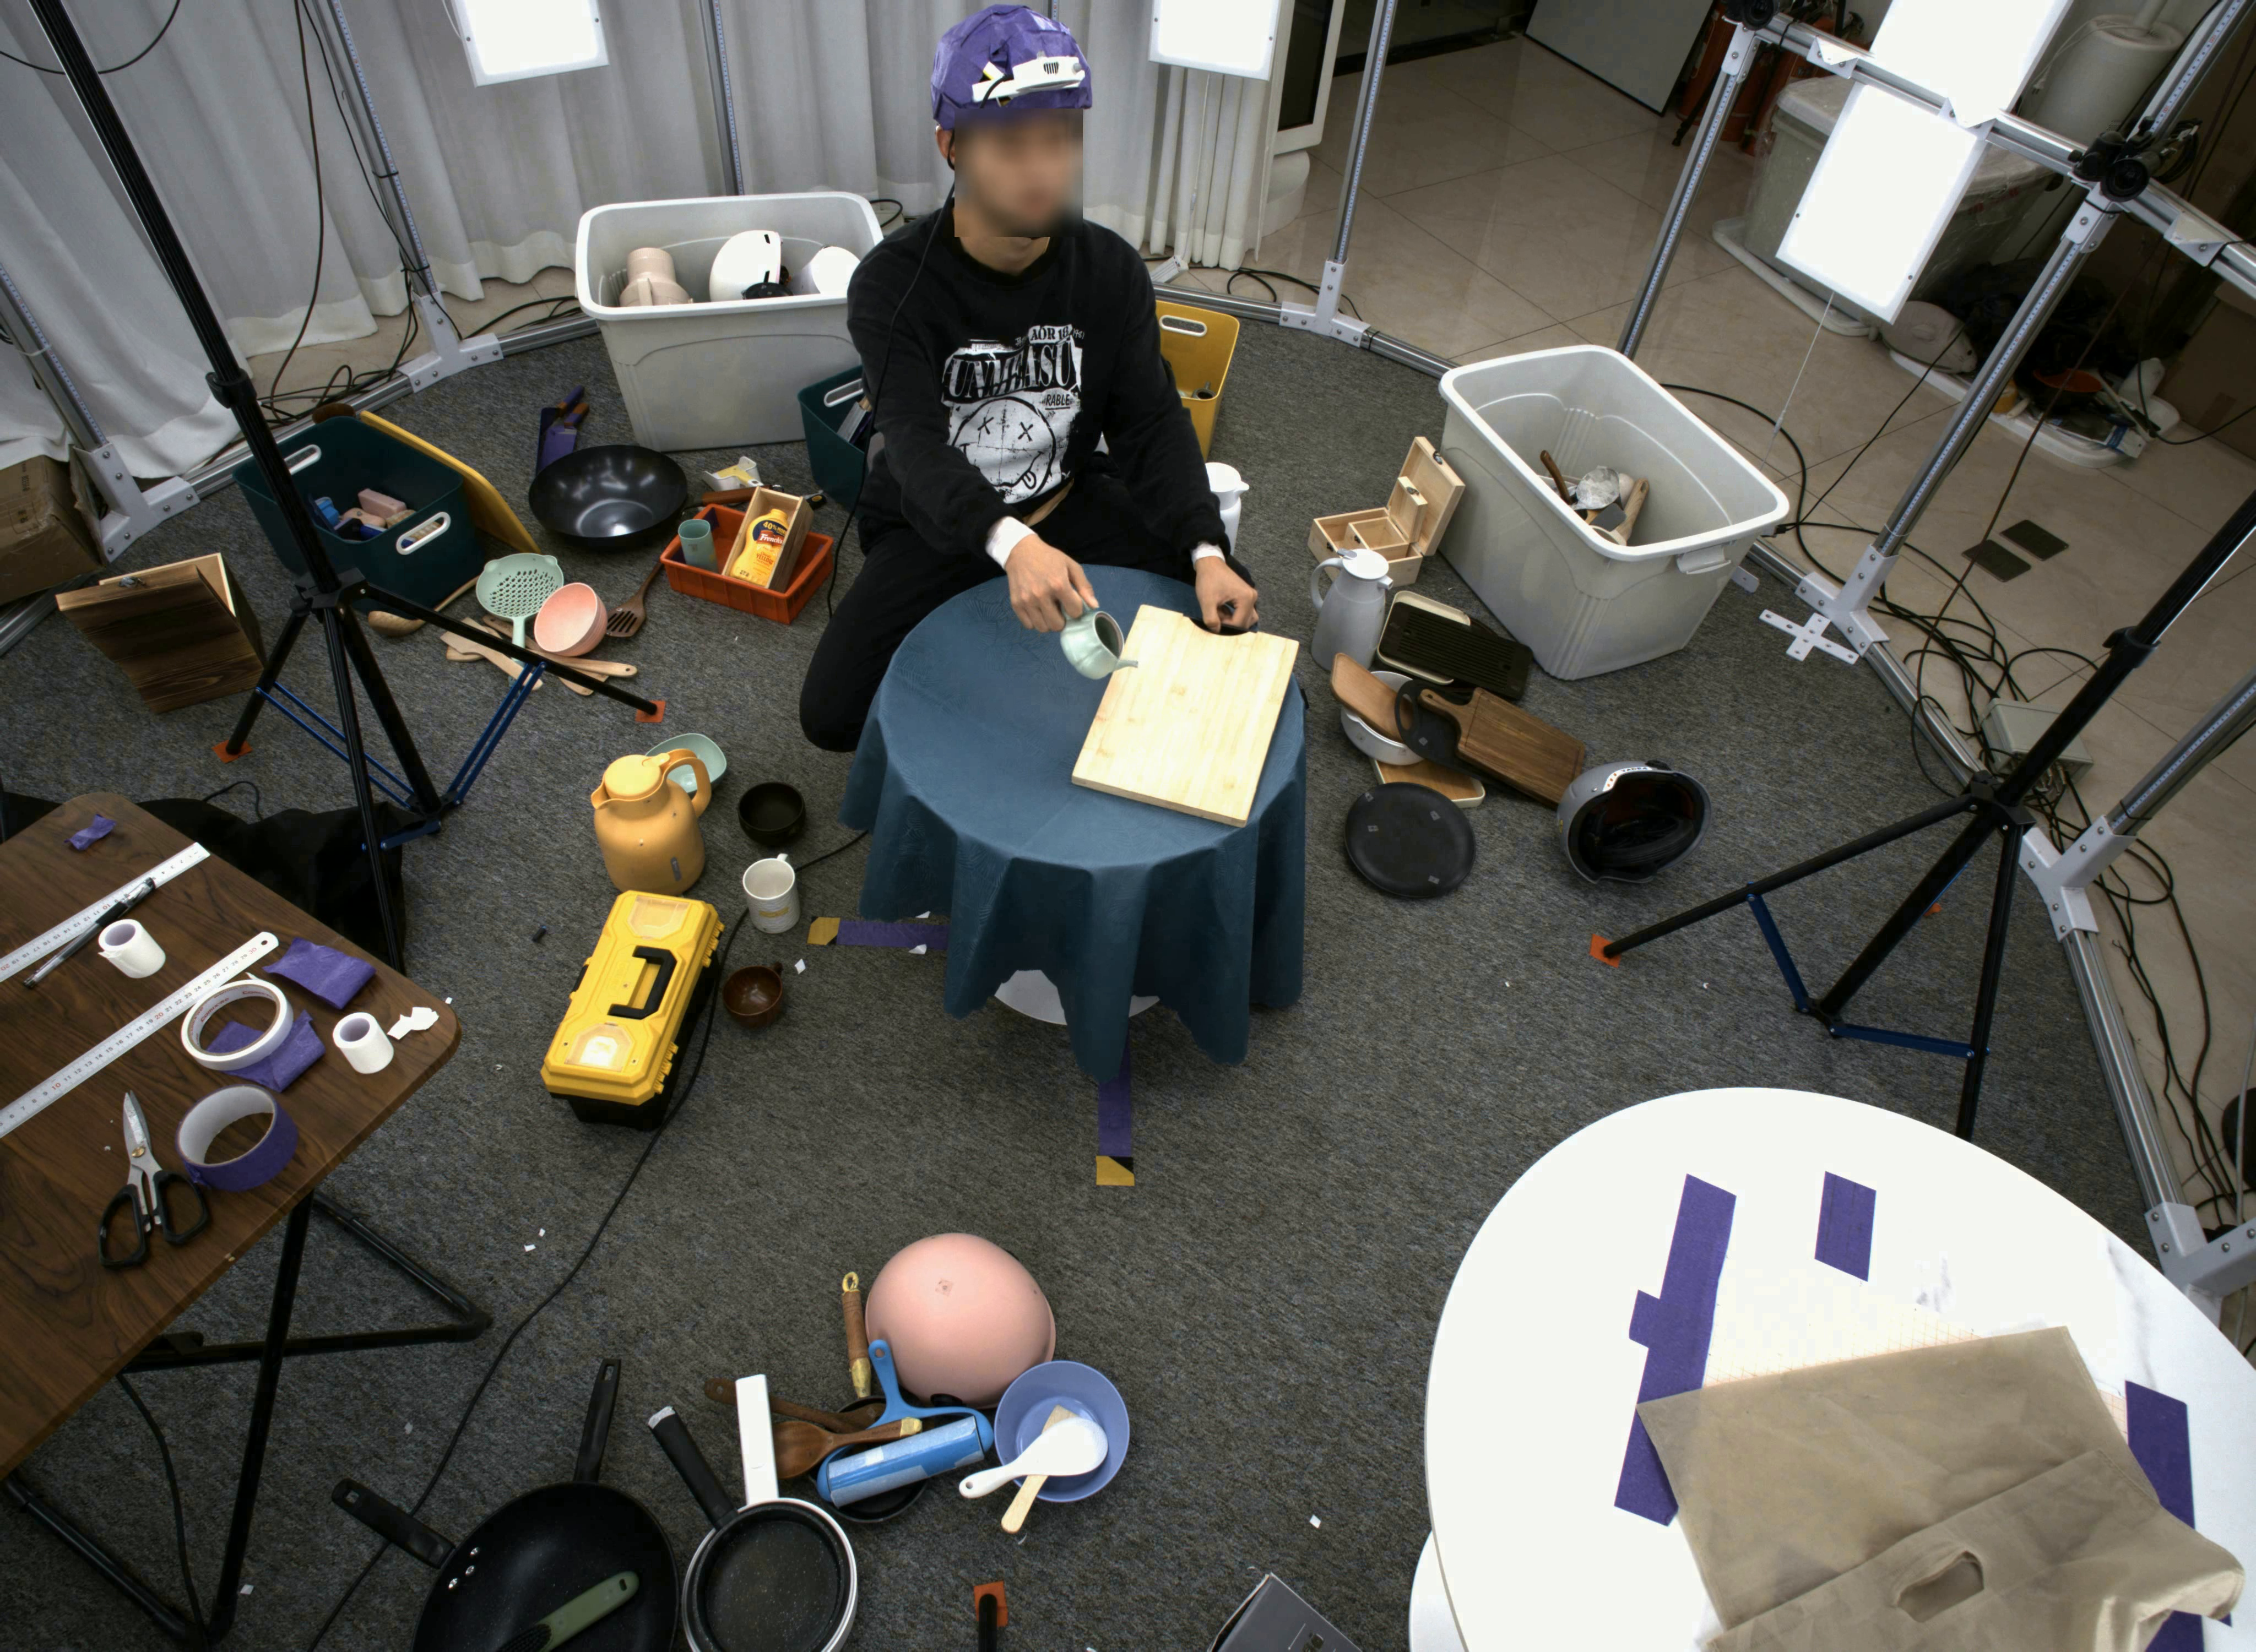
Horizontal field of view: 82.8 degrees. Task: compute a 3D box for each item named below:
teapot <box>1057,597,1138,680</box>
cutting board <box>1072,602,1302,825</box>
[{"bbox_3d":[-0.050,-0.245,1.684,0.061,0.134,0.098,-24,36,34],"label":"teapot"},{"bbox_3d":[0.088,-0.167,1.793,0.251,0.023,0.356,13,53,8],"label":"cutting board"}]
